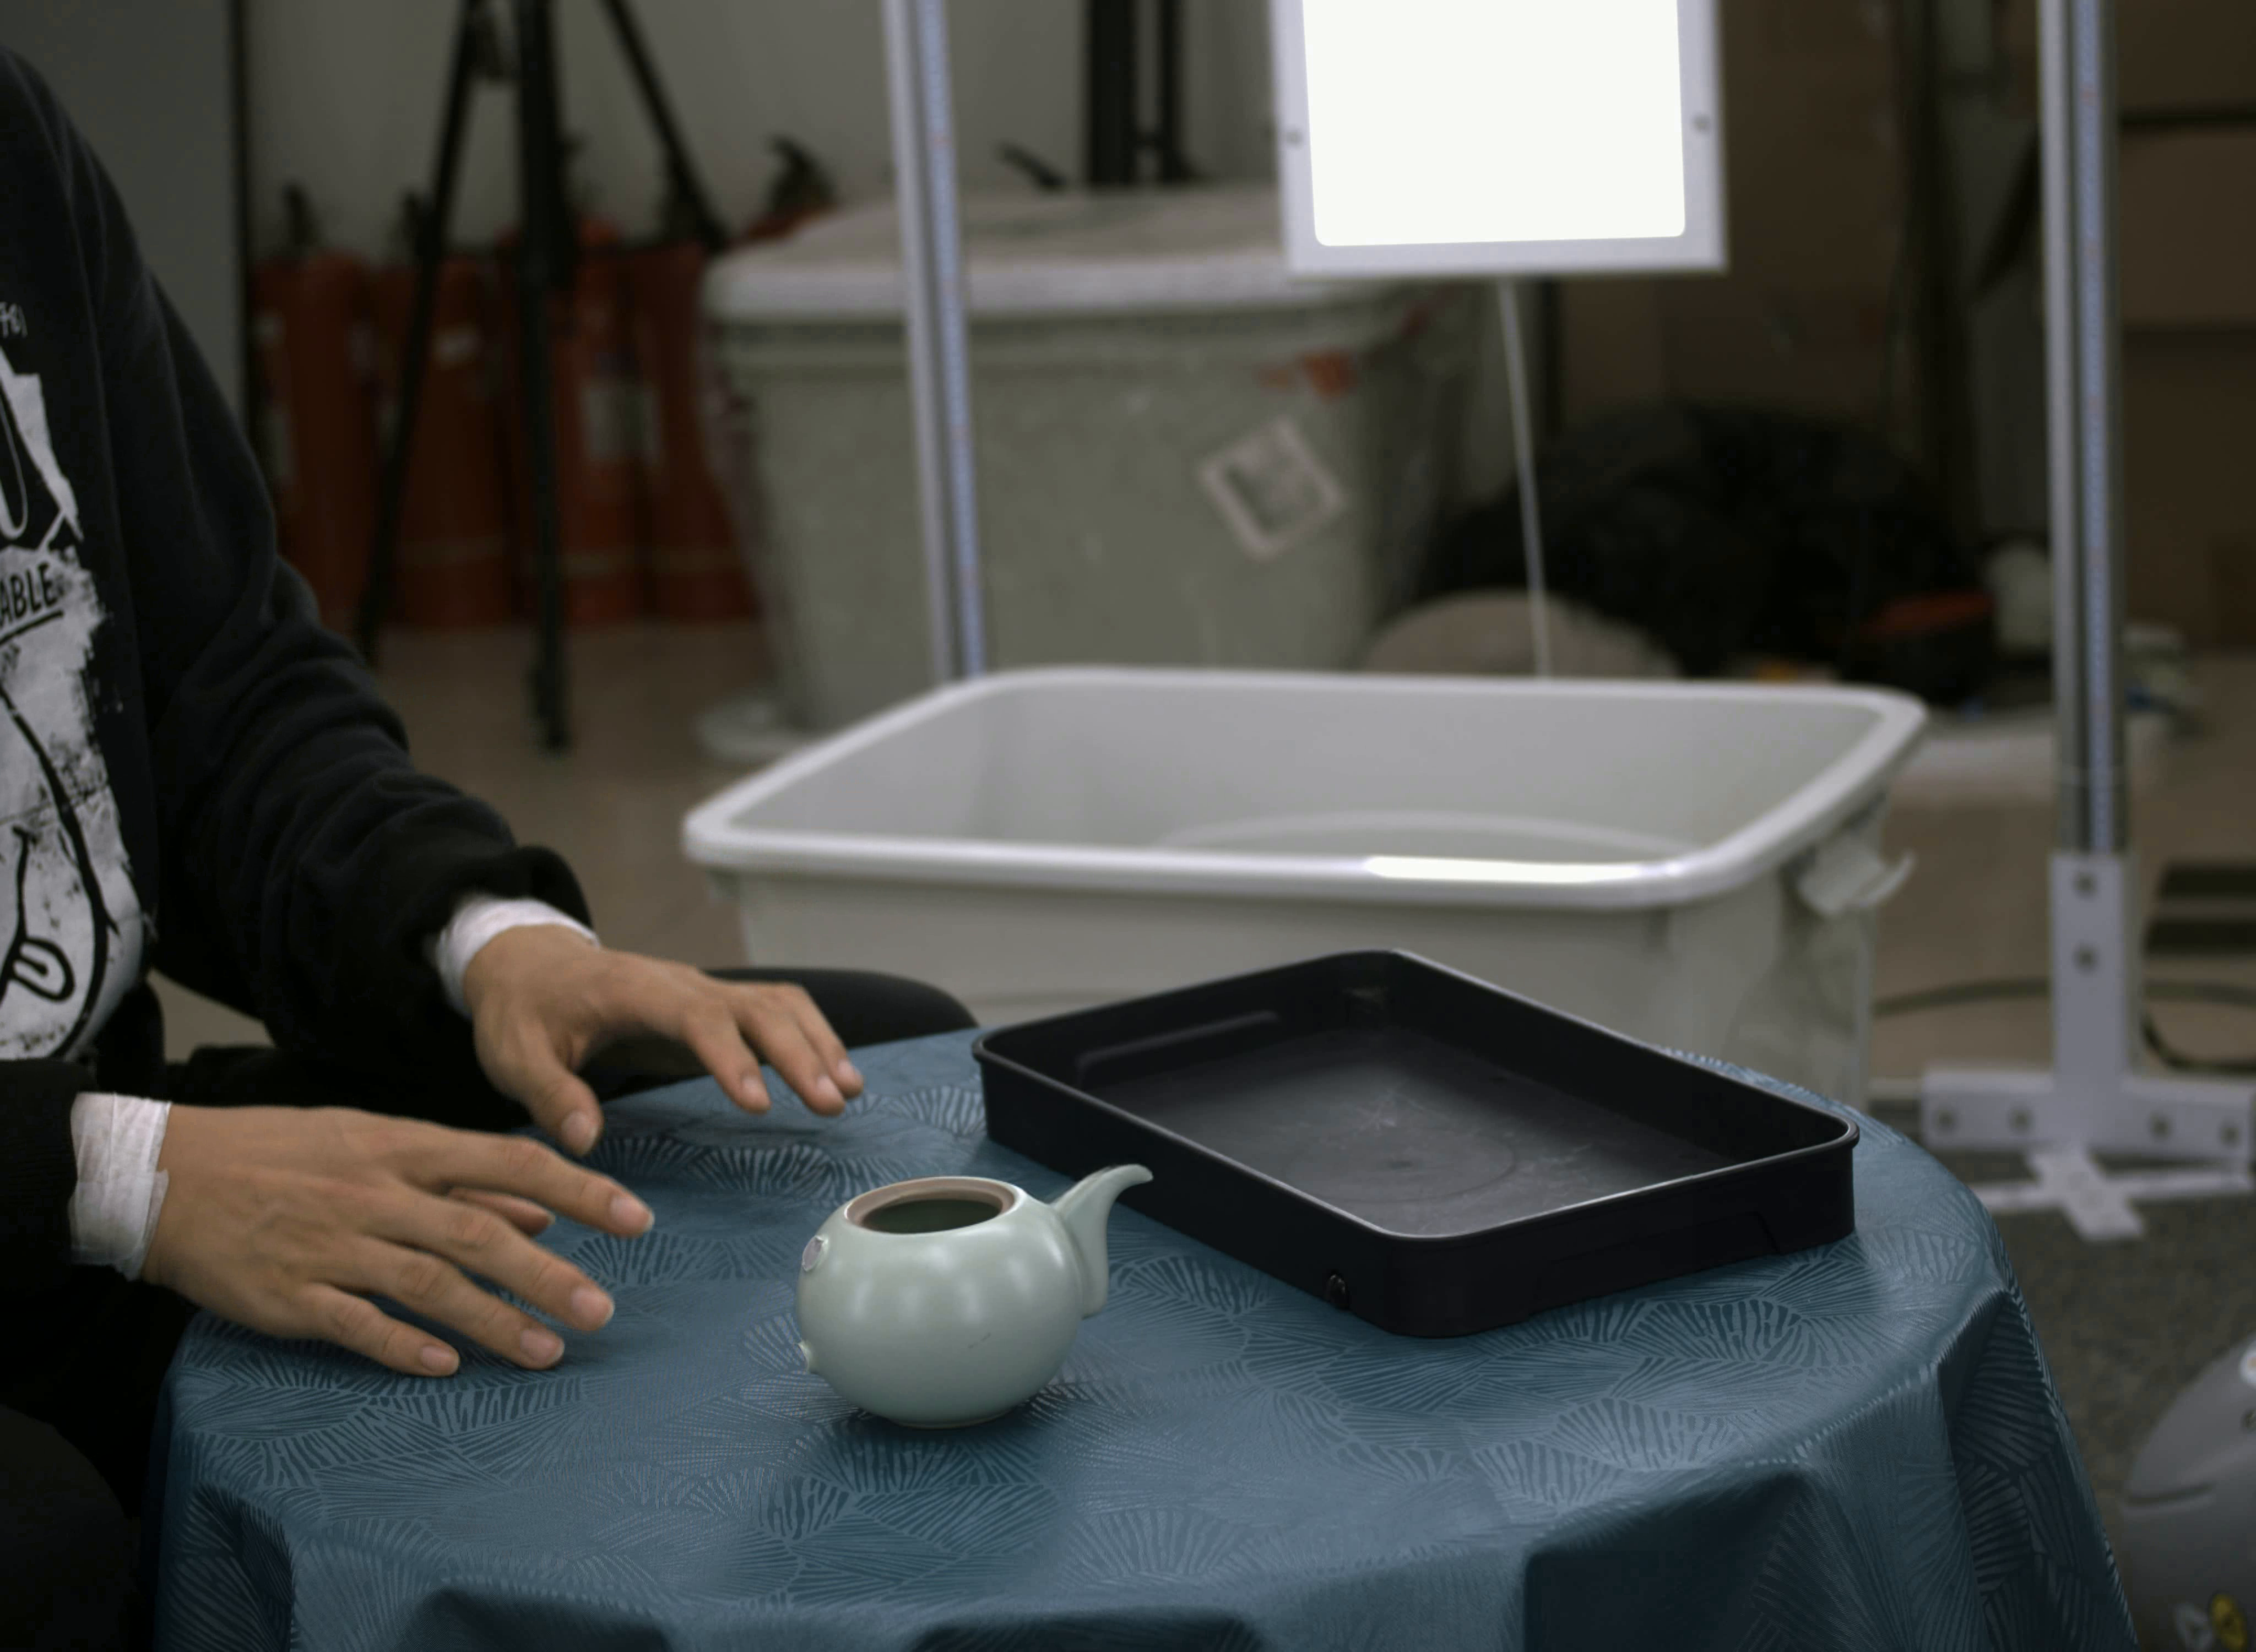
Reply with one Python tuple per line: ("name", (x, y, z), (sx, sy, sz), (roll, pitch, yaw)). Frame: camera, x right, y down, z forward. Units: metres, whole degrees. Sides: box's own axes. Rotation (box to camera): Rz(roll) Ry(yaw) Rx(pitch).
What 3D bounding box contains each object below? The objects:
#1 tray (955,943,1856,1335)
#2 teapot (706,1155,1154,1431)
("tray", (0.090, 0.102, 1.889), (0.180, 0.037, 0.324), (-13, 16, -28))
("teapot", (-0.059, 0.145, 1.695), (0.142, 0.075, 0.089), (-6, 14, -12))
